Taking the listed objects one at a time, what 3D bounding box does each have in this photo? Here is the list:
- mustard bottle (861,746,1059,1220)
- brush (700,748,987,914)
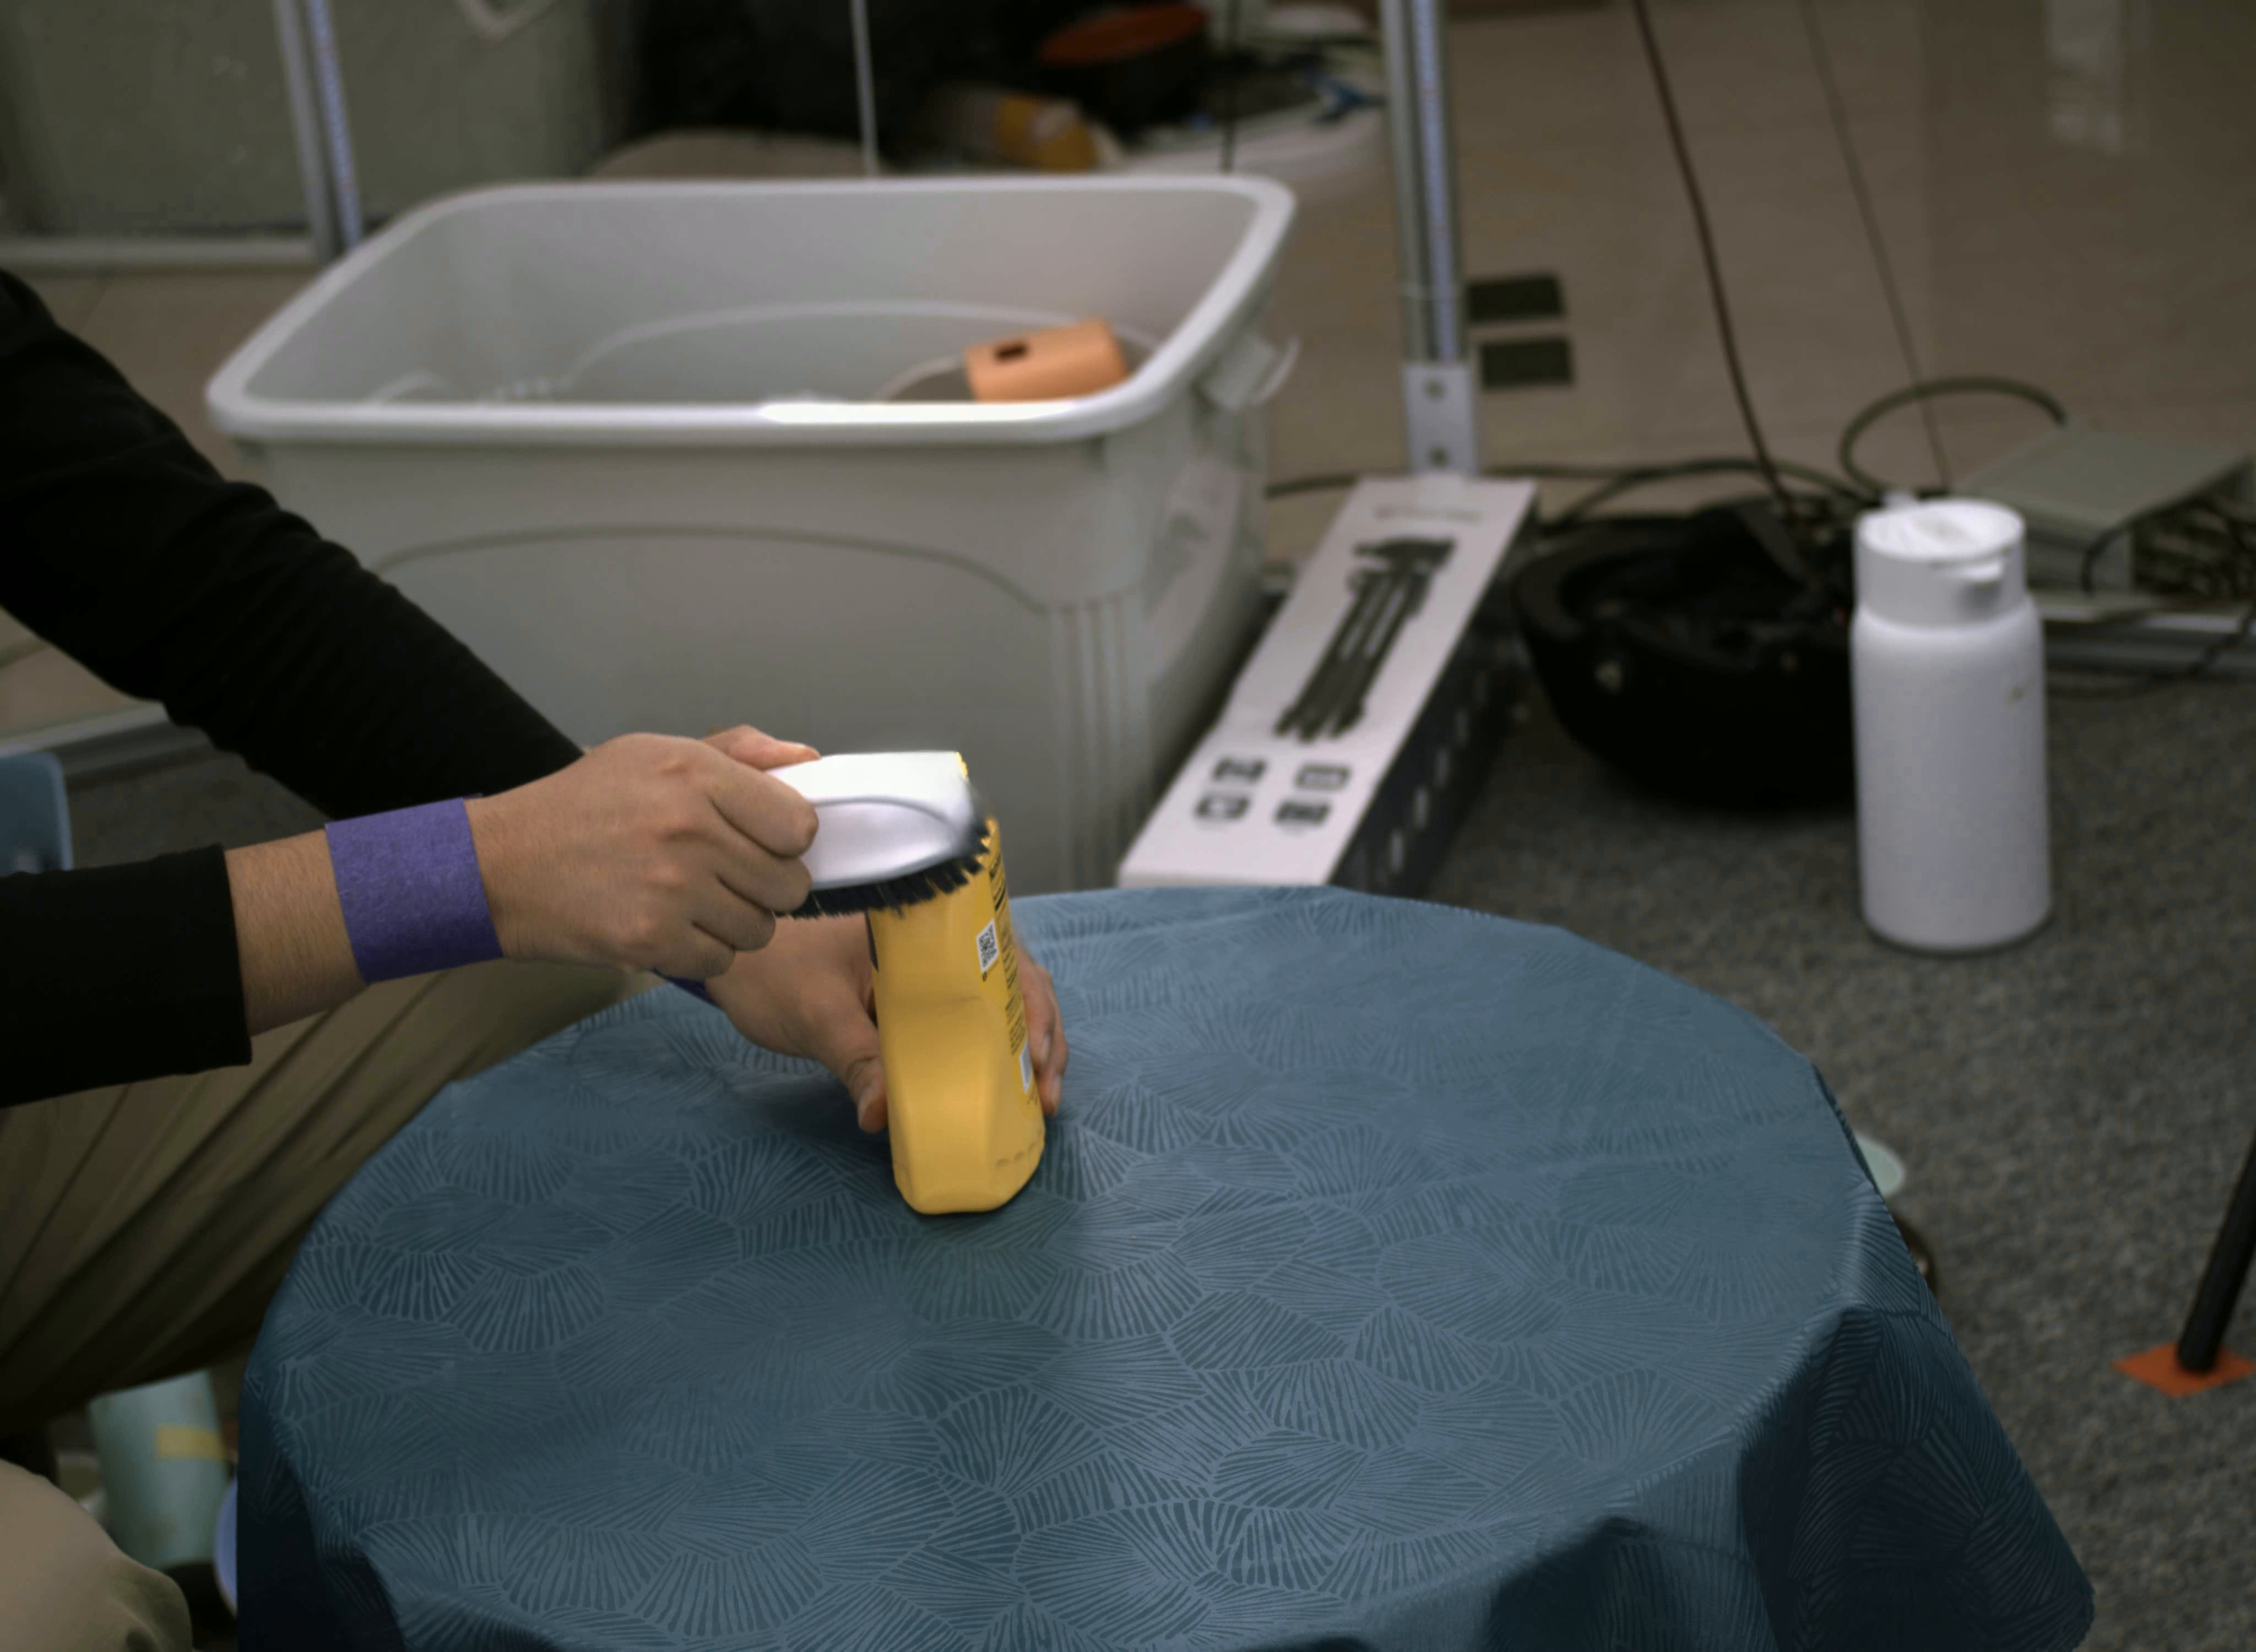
[{"bbox_3d":[-0.068,0.055,2.141,0.059,0.175,0.097,-8,26,5],"label":"mustard bottle"},{"bbox_3d":[-0.108,-0.005,2.050,0.099,0.073,0.050,-5,69,14],"label":"brush"}]
